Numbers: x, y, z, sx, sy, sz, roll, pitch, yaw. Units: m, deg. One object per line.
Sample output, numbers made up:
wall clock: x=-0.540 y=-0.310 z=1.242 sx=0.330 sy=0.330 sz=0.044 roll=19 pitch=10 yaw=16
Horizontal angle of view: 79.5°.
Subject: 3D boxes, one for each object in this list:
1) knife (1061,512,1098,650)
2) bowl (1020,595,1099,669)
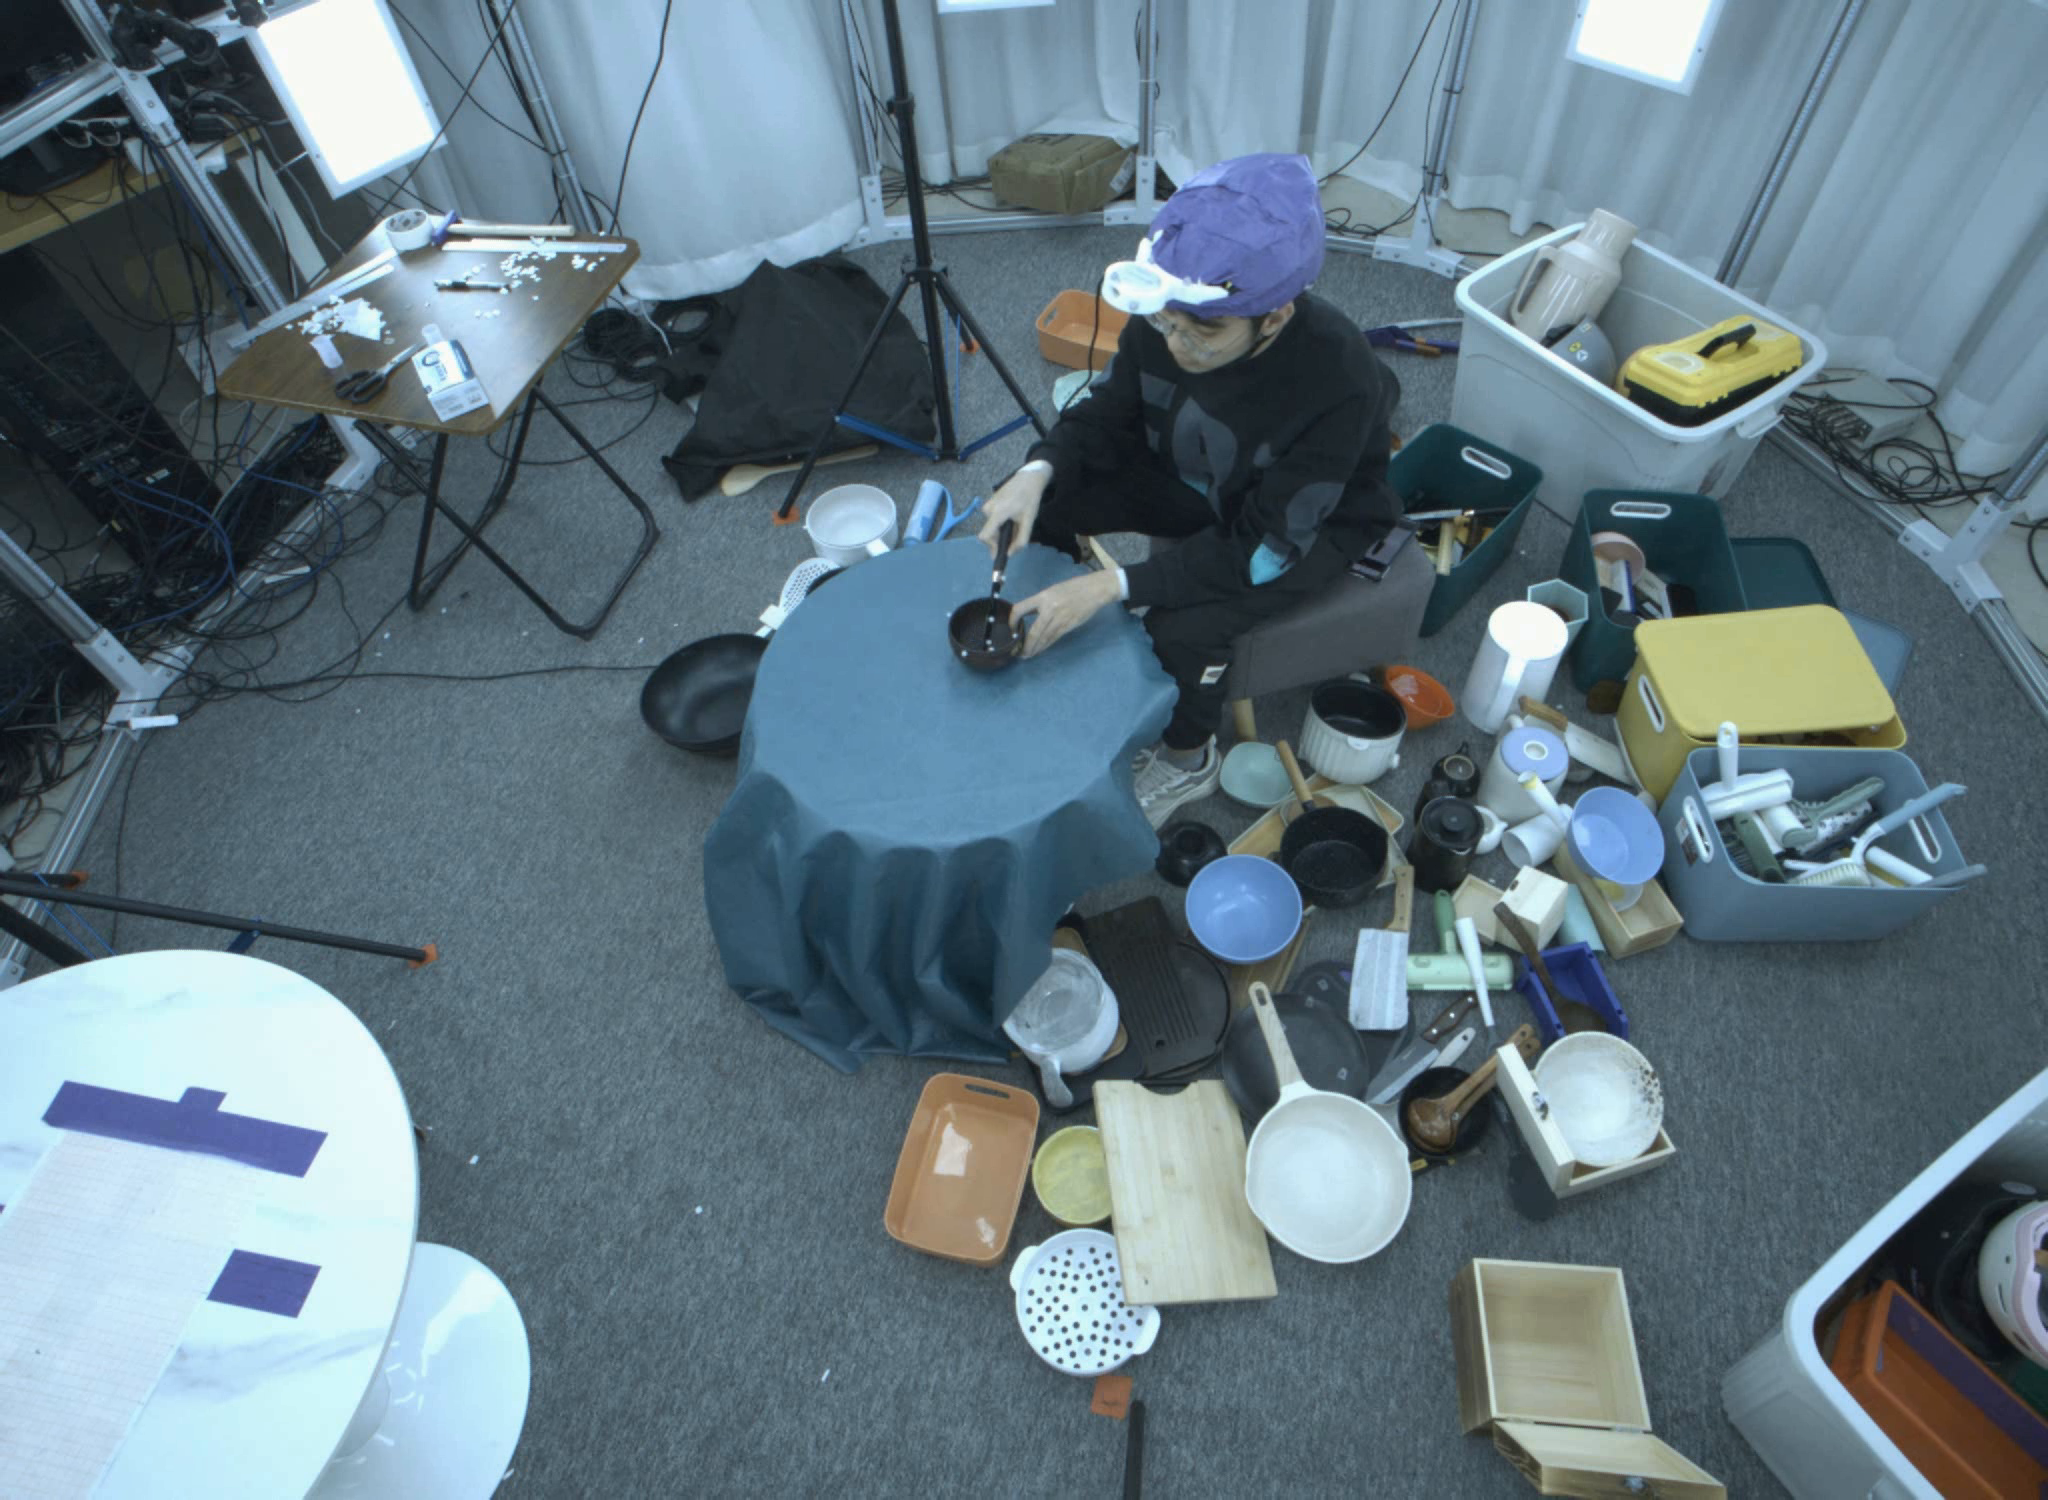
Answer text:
knife: x=0.079 y=-0.249 z=1.851 sx=0.026 sy=0.017 sz=0.225 roll=13 pitch=90 yaw=-11
bowl: x=0.053 y=-0.170 z=1.859 sx=0.118 sy=0.070 sz=0.117 roll=1 pitch=55 yaw=0
